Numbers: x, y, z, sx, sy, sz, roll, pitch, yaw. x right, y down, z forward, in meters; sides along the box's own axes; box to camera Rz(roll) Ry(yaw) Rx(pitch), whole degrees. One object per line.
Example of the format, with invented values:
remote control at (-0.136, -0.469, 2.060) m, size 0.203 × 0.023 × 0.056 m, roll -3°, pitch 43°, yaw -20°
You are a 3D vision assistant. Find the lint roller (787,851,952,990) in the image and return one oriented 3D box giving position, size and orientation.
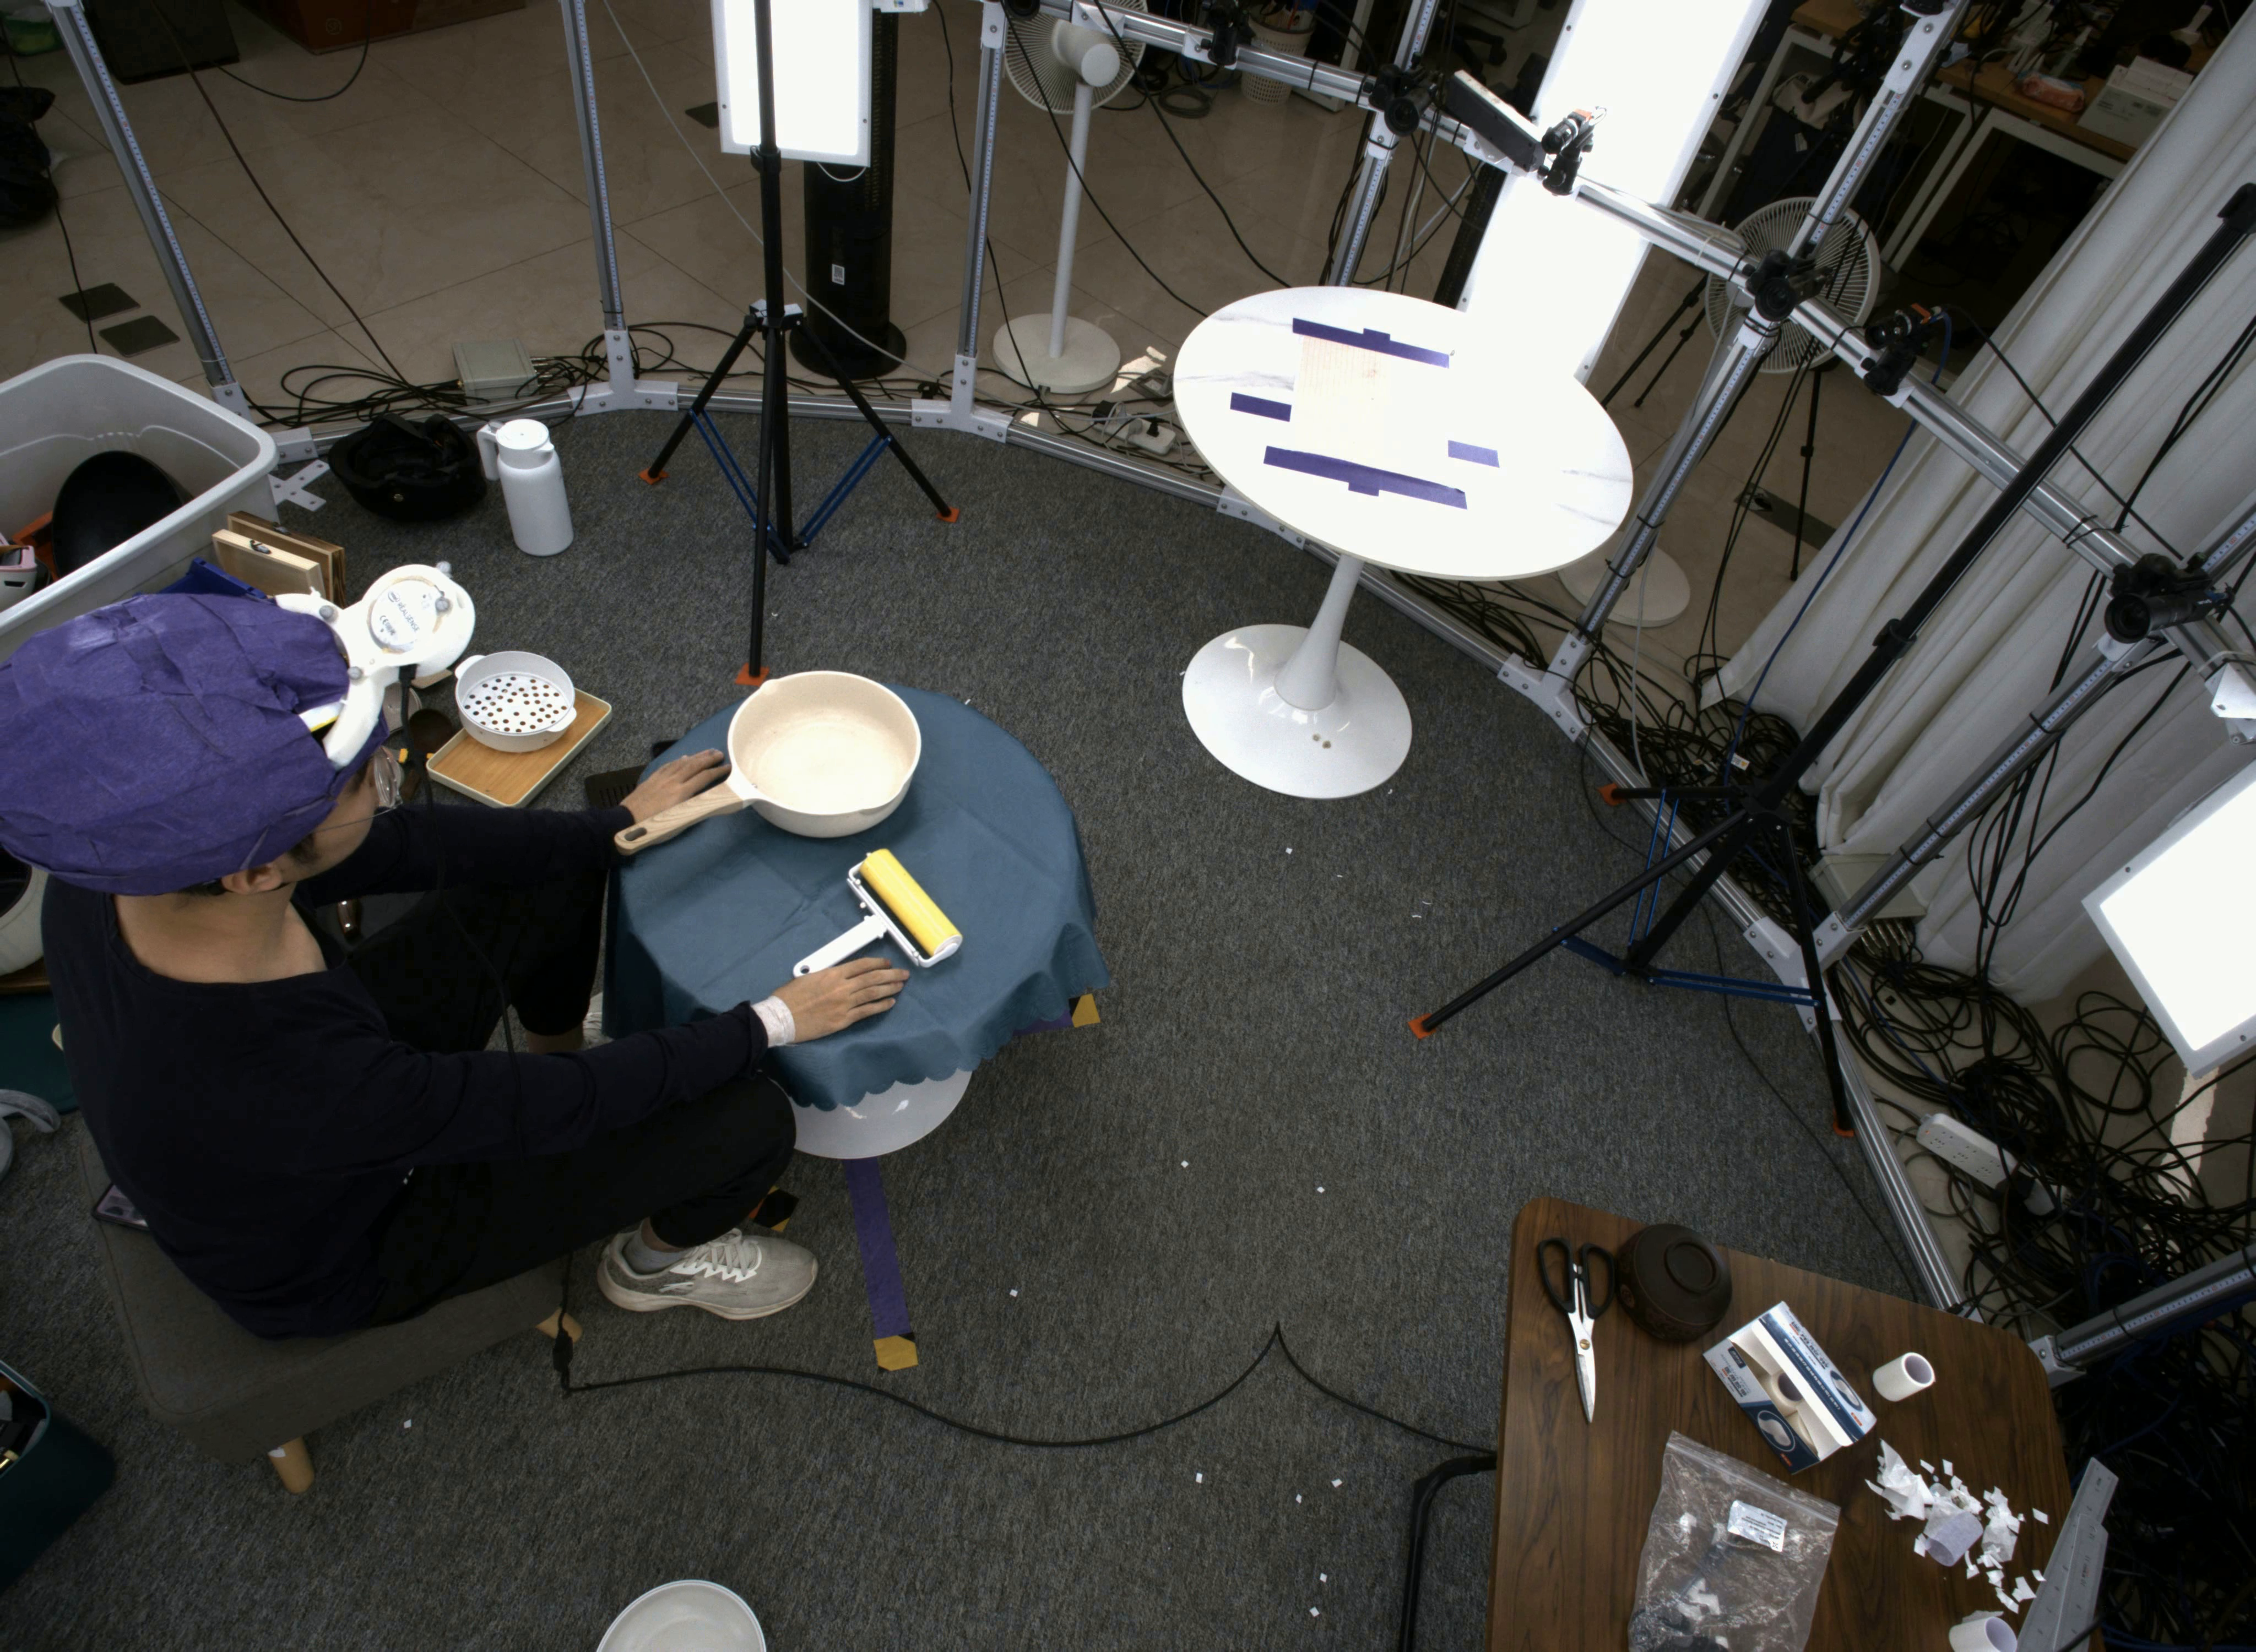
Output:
lint roller at (-0.345, 0.135, 1.626) m, size 0.192 × 0.052 × 0.170 m, roll -33°, pitch 67°, yaw -31°

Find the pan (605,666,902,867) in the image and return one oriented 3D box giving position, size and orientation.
pan at (-0.493, -0.050, 1.692) m, size 0.258 × 0.104 × 0.435 m, roll 43°, pitch 56°, yaw 15°
